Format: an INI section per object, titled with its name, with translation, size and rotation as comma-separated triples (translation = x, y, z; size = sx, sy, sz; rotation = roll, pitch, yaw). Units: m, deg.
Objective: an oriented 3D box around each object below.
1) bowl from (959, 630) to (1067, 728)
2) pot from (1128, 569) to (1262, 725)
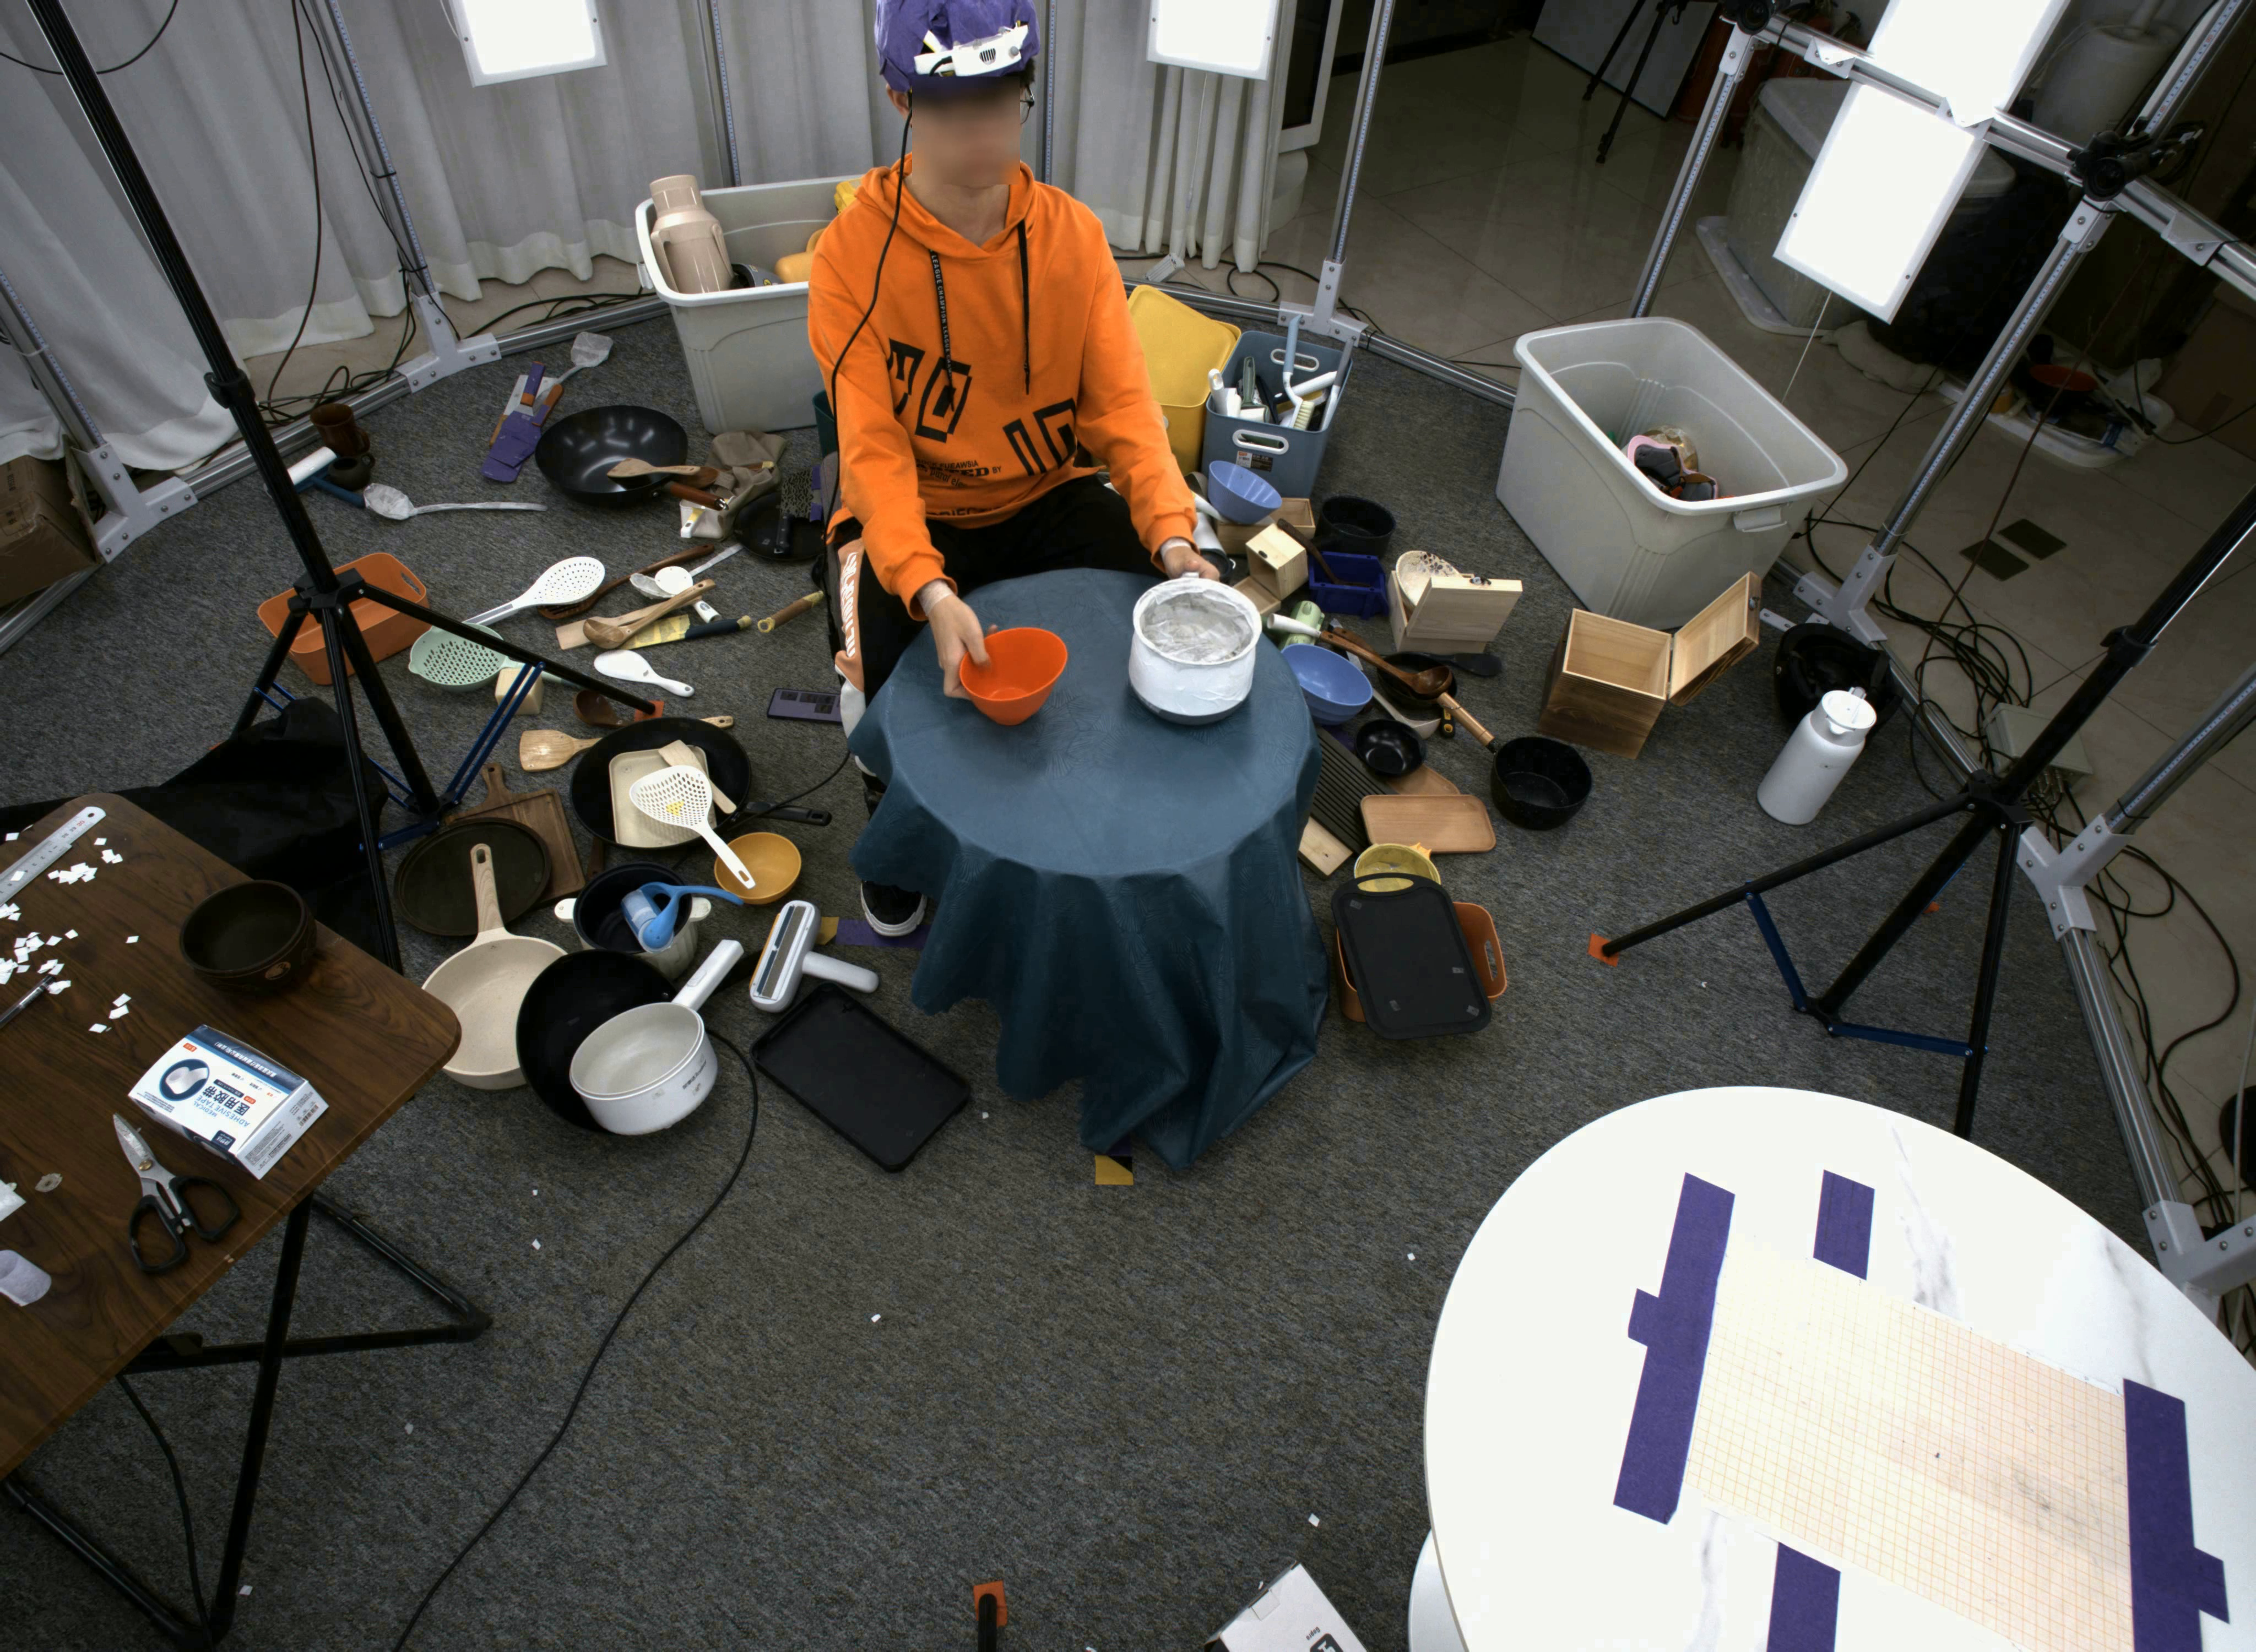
[bowl]
translation = -0.154, -0.191, 1.760
size = 0.148, 0.102, 0.152
rotation = -2, 48, 2
[pot]
translation = 0.089, -0.262, 1.813
size = 0.178, 0.133, 0.239
rotation = 0, 49, -5
